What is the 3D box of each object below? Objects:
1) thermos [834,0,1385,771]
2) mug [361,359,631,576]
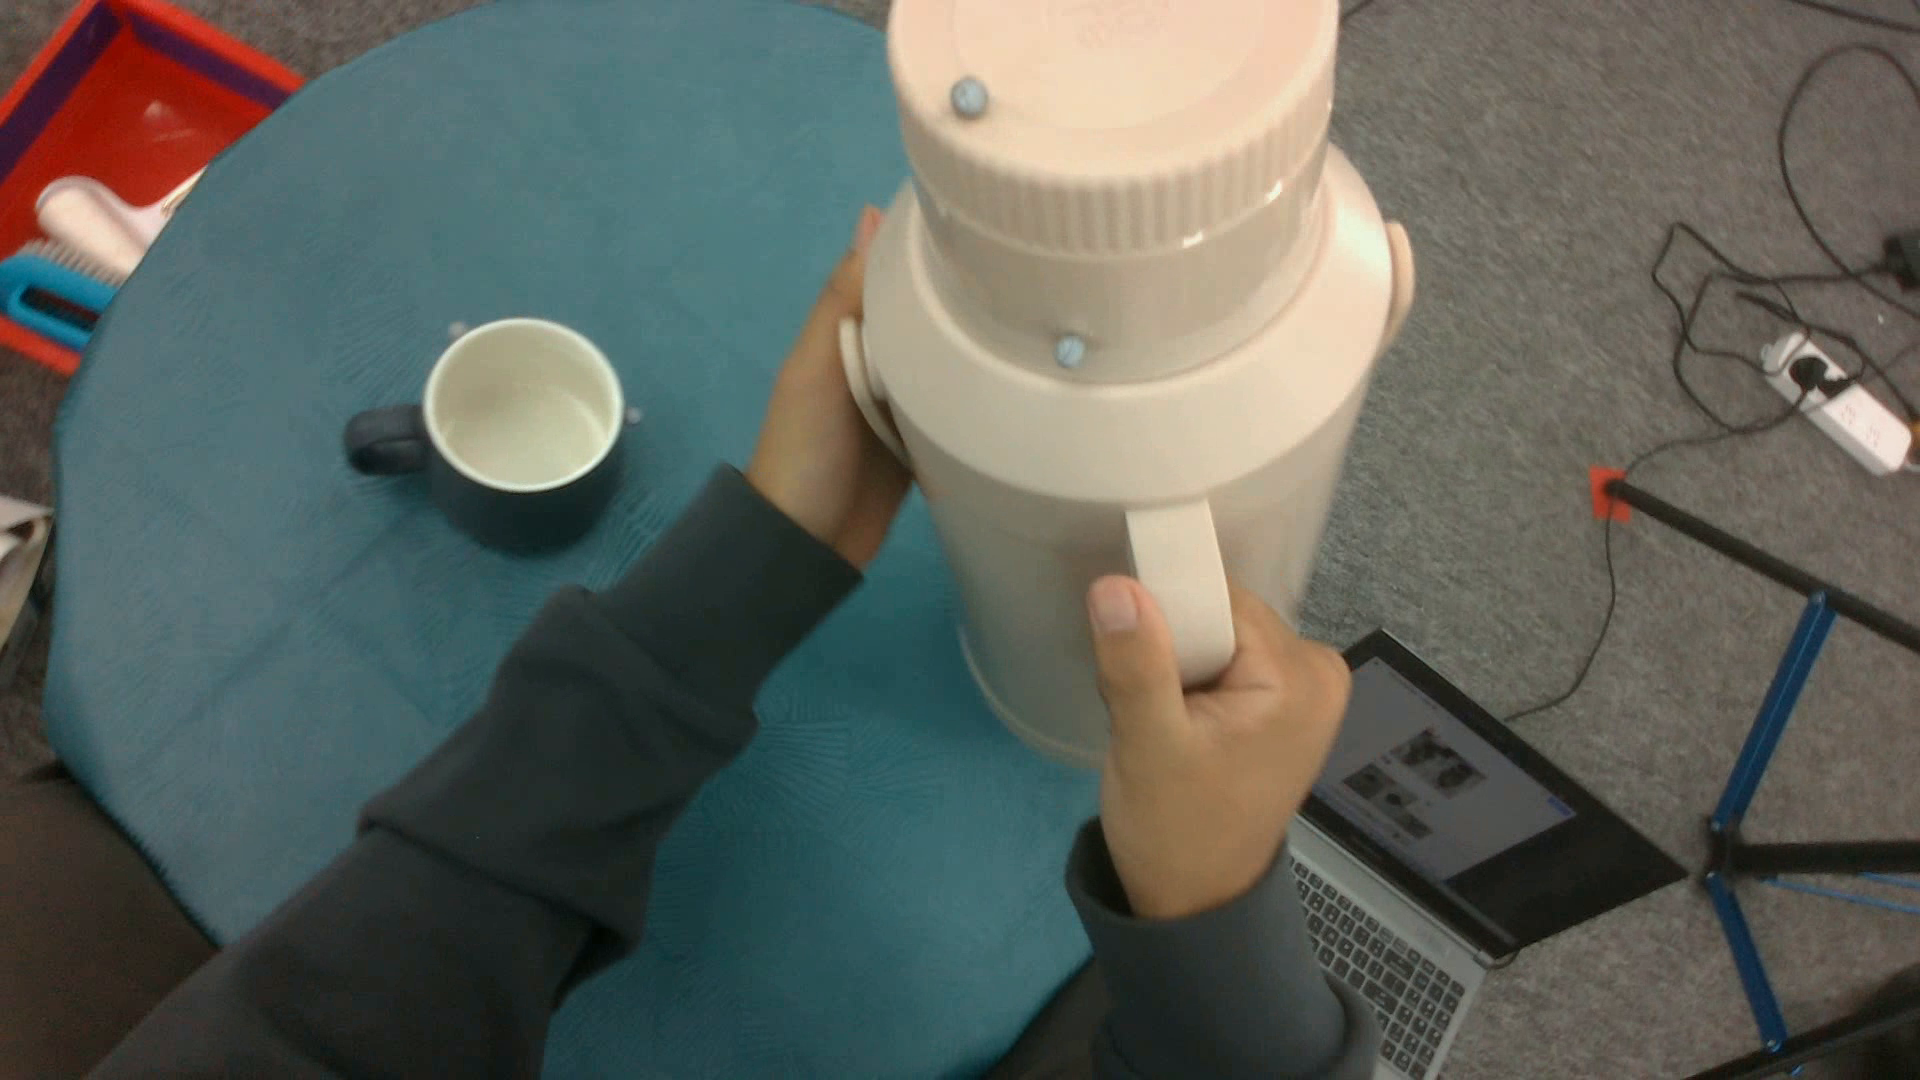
[{"bbox_3d":[0.058,-0.028,0.506,0.175,0.405,0.207,-11,65,2],"label":"thermos"},{"bbox_3d":[-0.219,-0.033,0.655,0.123,0.089,0.093,-6,78,-18],"label":"mug"}]
